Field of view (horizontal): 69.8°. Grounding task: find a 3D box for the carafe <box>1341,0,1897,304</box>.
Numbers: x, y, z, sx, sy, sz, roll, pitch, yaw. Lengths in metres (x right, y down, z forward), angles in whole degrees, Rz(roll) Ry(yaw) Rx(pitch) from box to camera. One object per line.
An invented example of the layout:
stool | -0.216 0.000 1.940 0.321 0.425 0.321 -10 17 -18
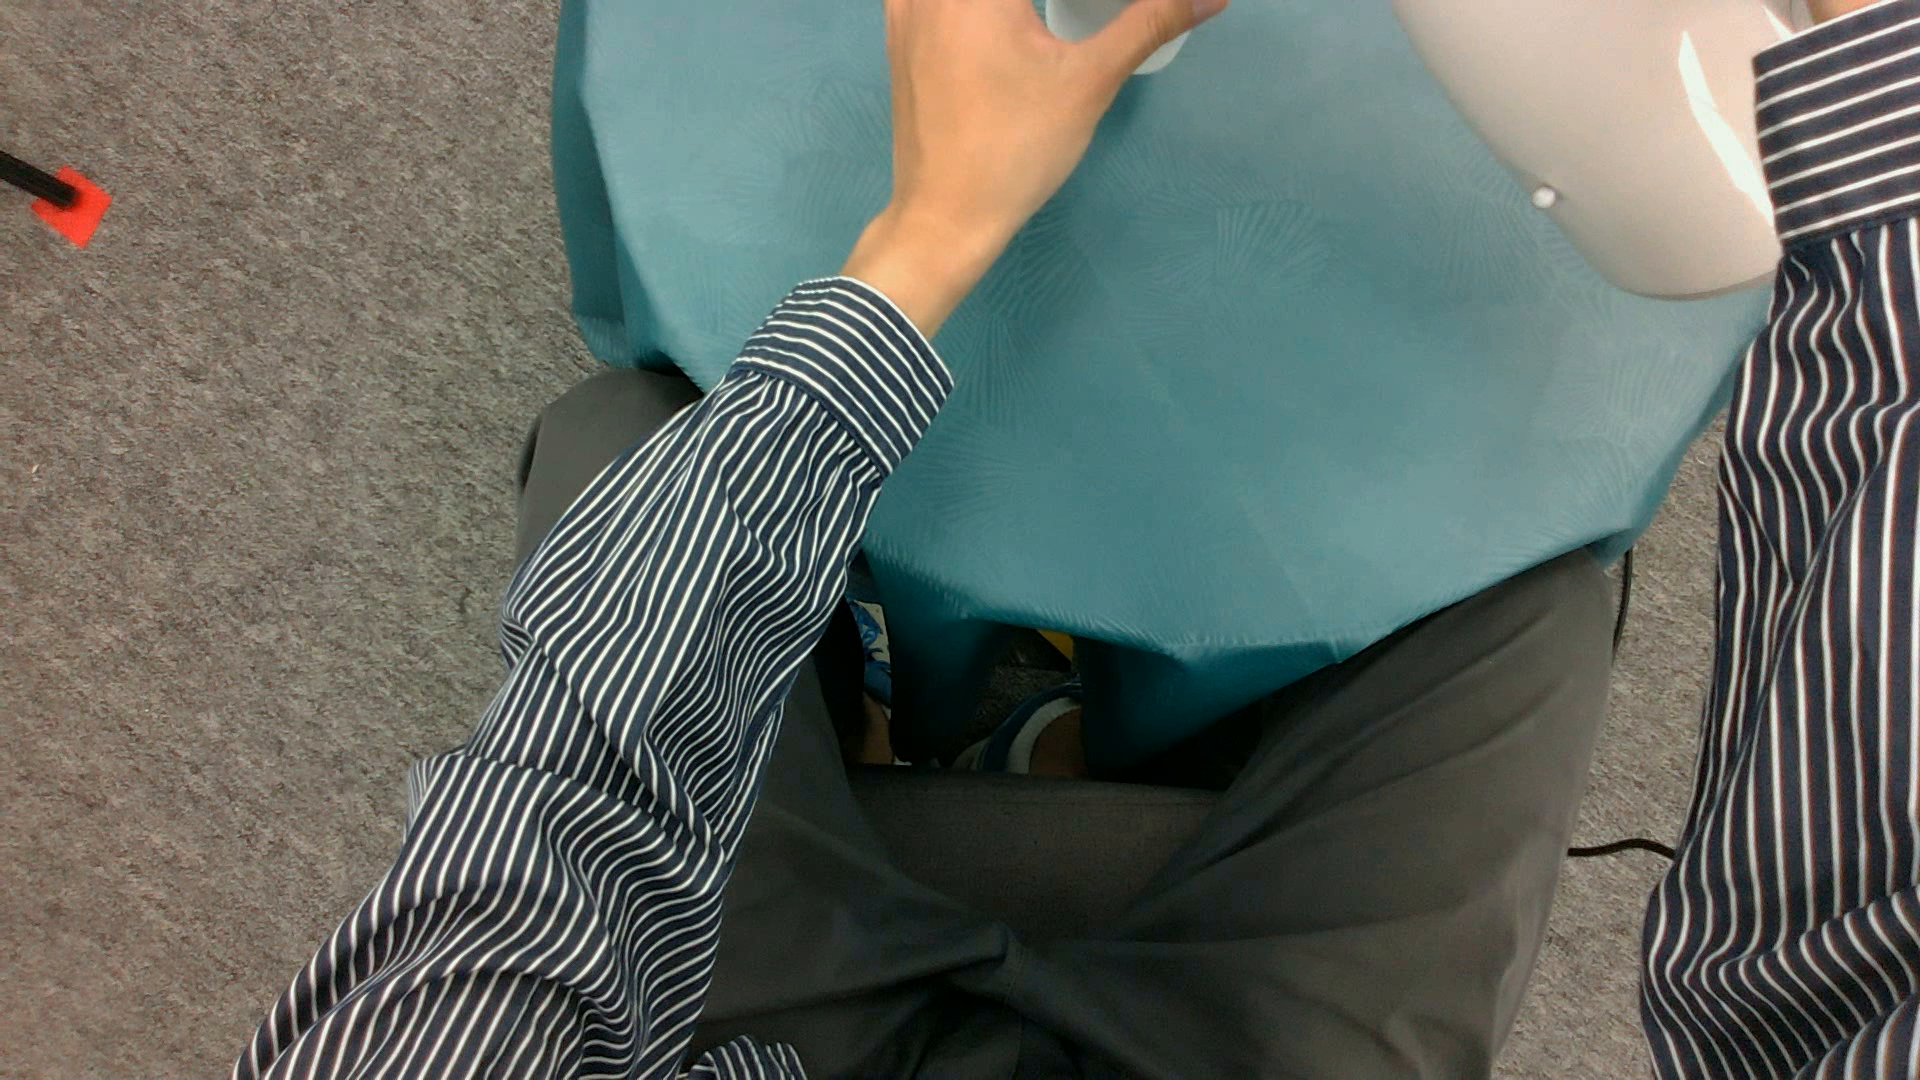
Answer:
carafe | 0.207 -0.202 0.456 0.248 0.167 0.132 33 82 -30

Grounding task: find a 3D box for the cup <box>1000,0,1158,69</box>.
cup | 0.057 -0.256 0.577 0.082 0.125 0.082 0 86 -4
